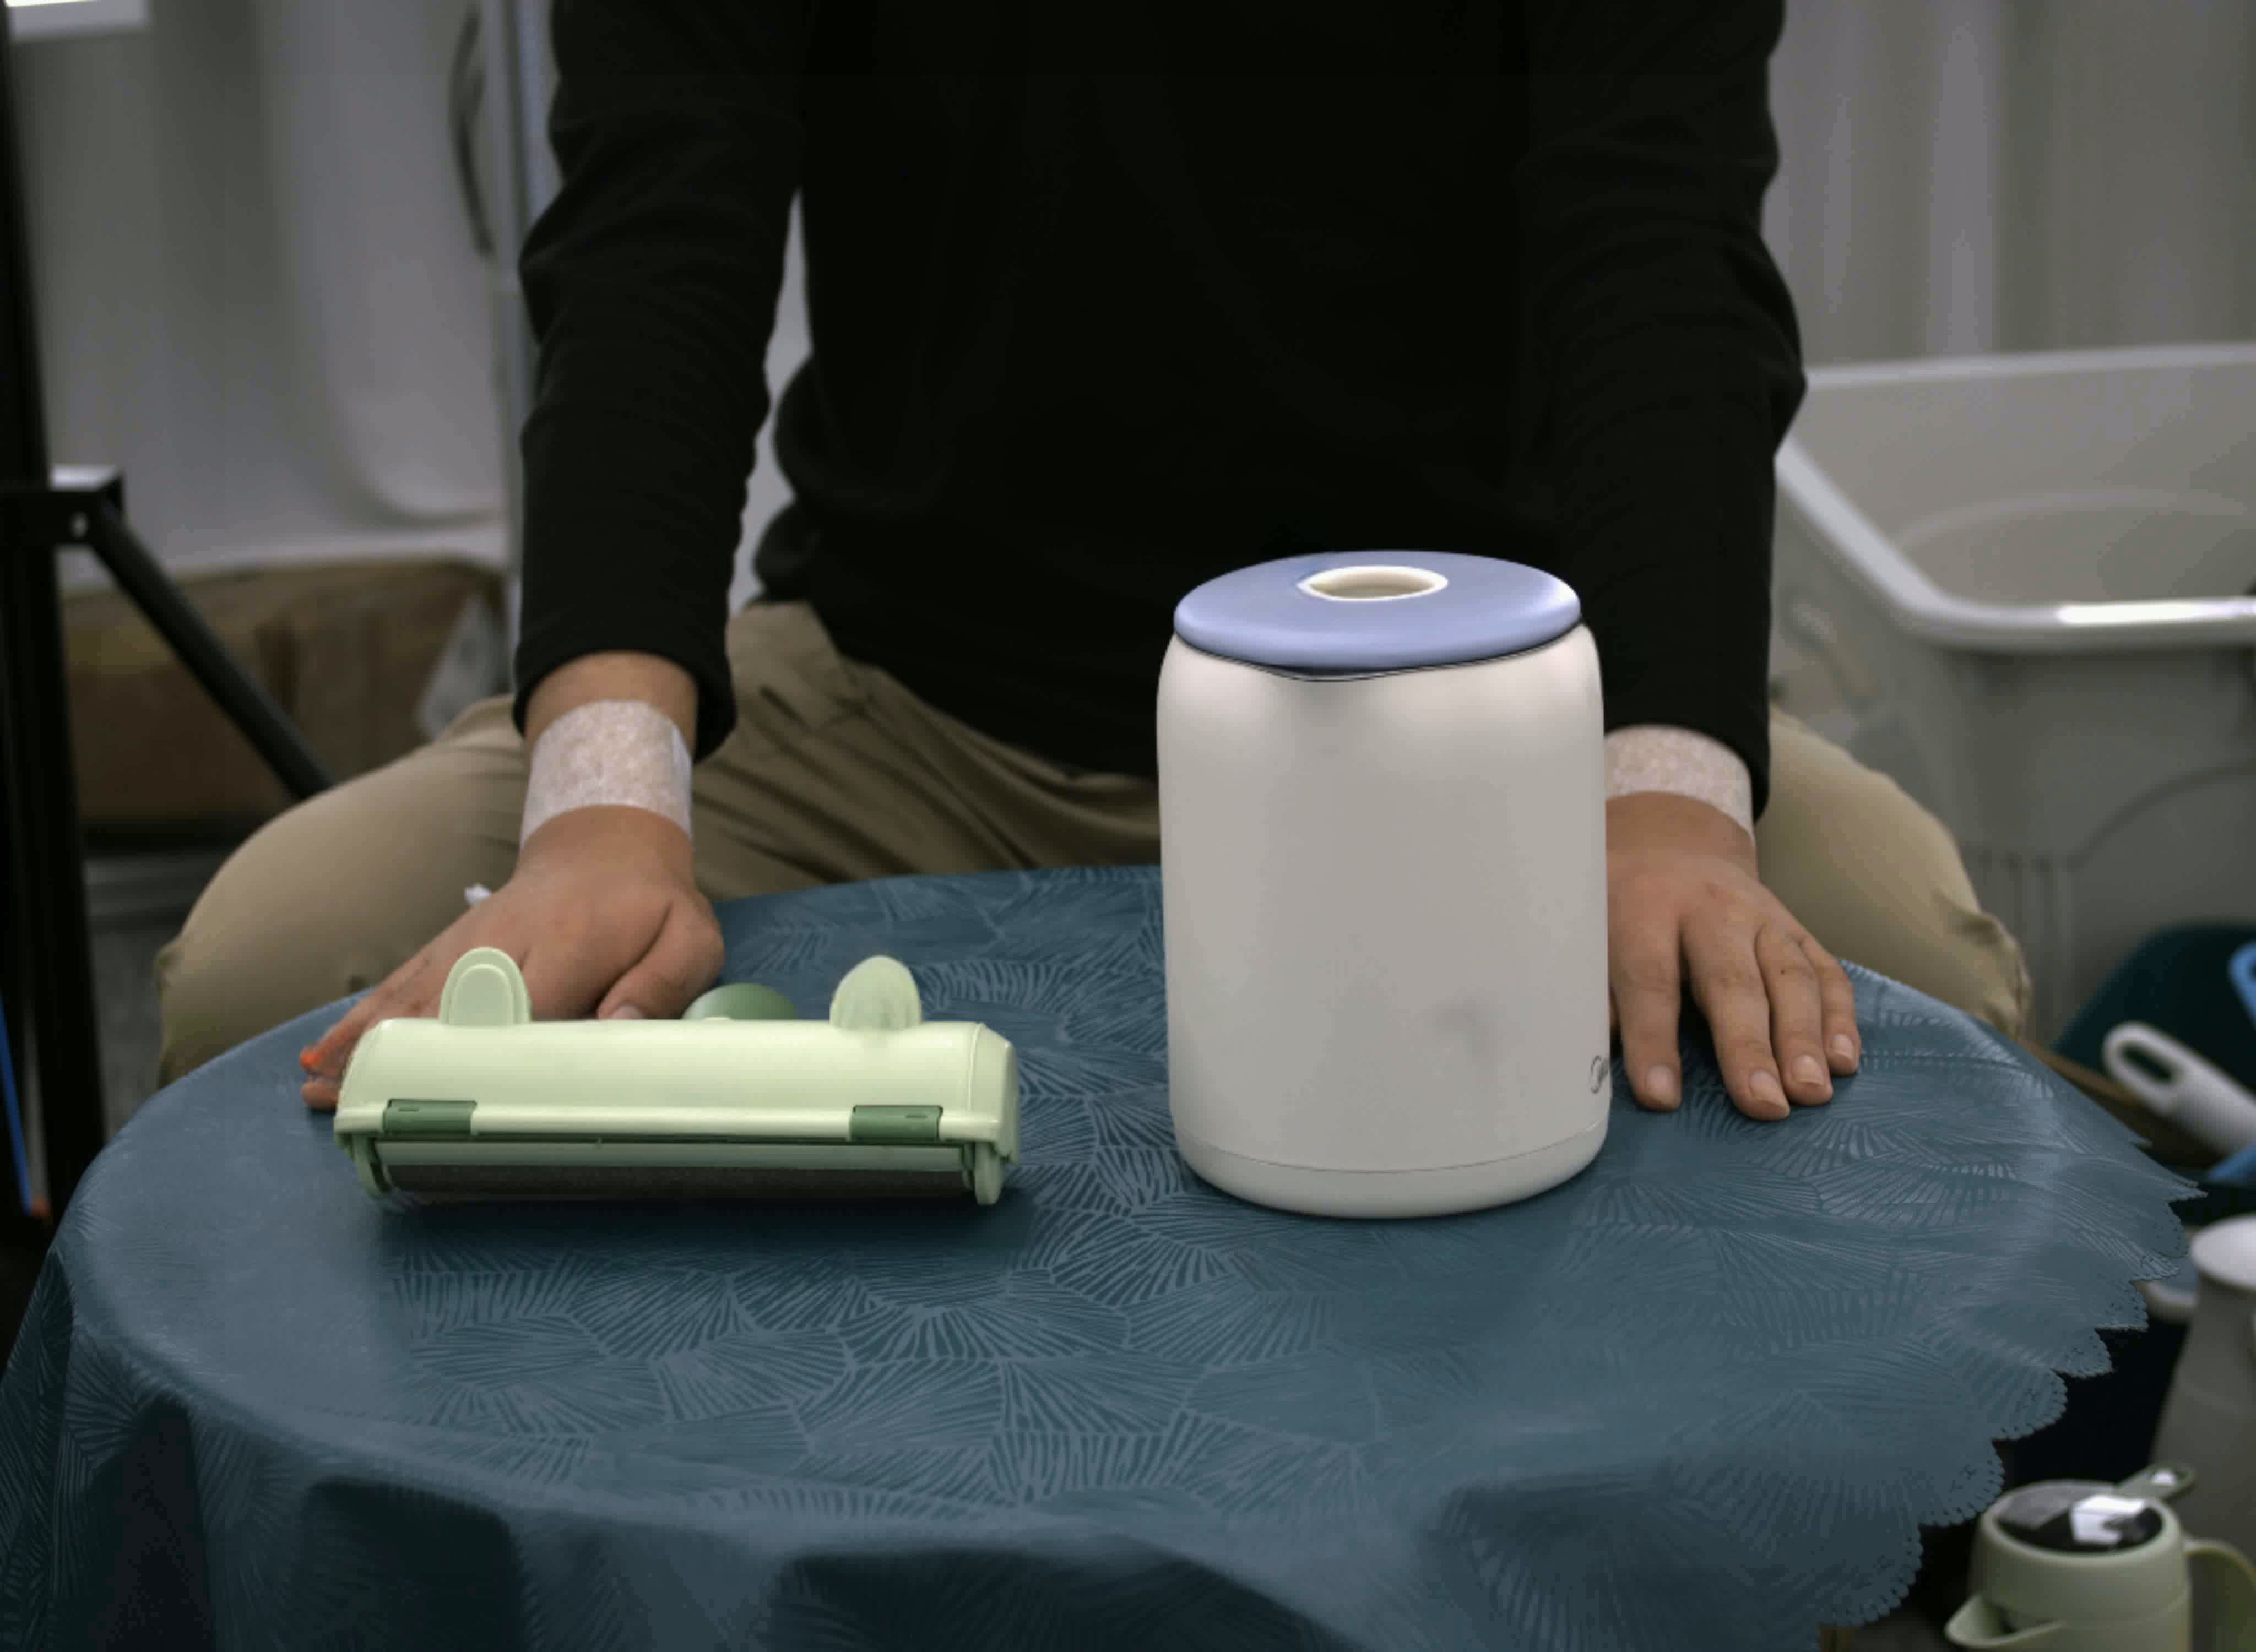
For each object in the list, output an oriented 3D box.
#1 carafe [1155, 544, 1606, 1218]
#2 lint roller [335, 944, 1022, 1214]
[{"bbox_3d":[0.081,0.009,1.579,0.133,0.182,0.189,3,14,15],"label":"carafe"},{"bbox_3d":[-0.125,0.060,1.607,0.199,0.082,0.183,0,18,7],"label":"lint roller"}]
